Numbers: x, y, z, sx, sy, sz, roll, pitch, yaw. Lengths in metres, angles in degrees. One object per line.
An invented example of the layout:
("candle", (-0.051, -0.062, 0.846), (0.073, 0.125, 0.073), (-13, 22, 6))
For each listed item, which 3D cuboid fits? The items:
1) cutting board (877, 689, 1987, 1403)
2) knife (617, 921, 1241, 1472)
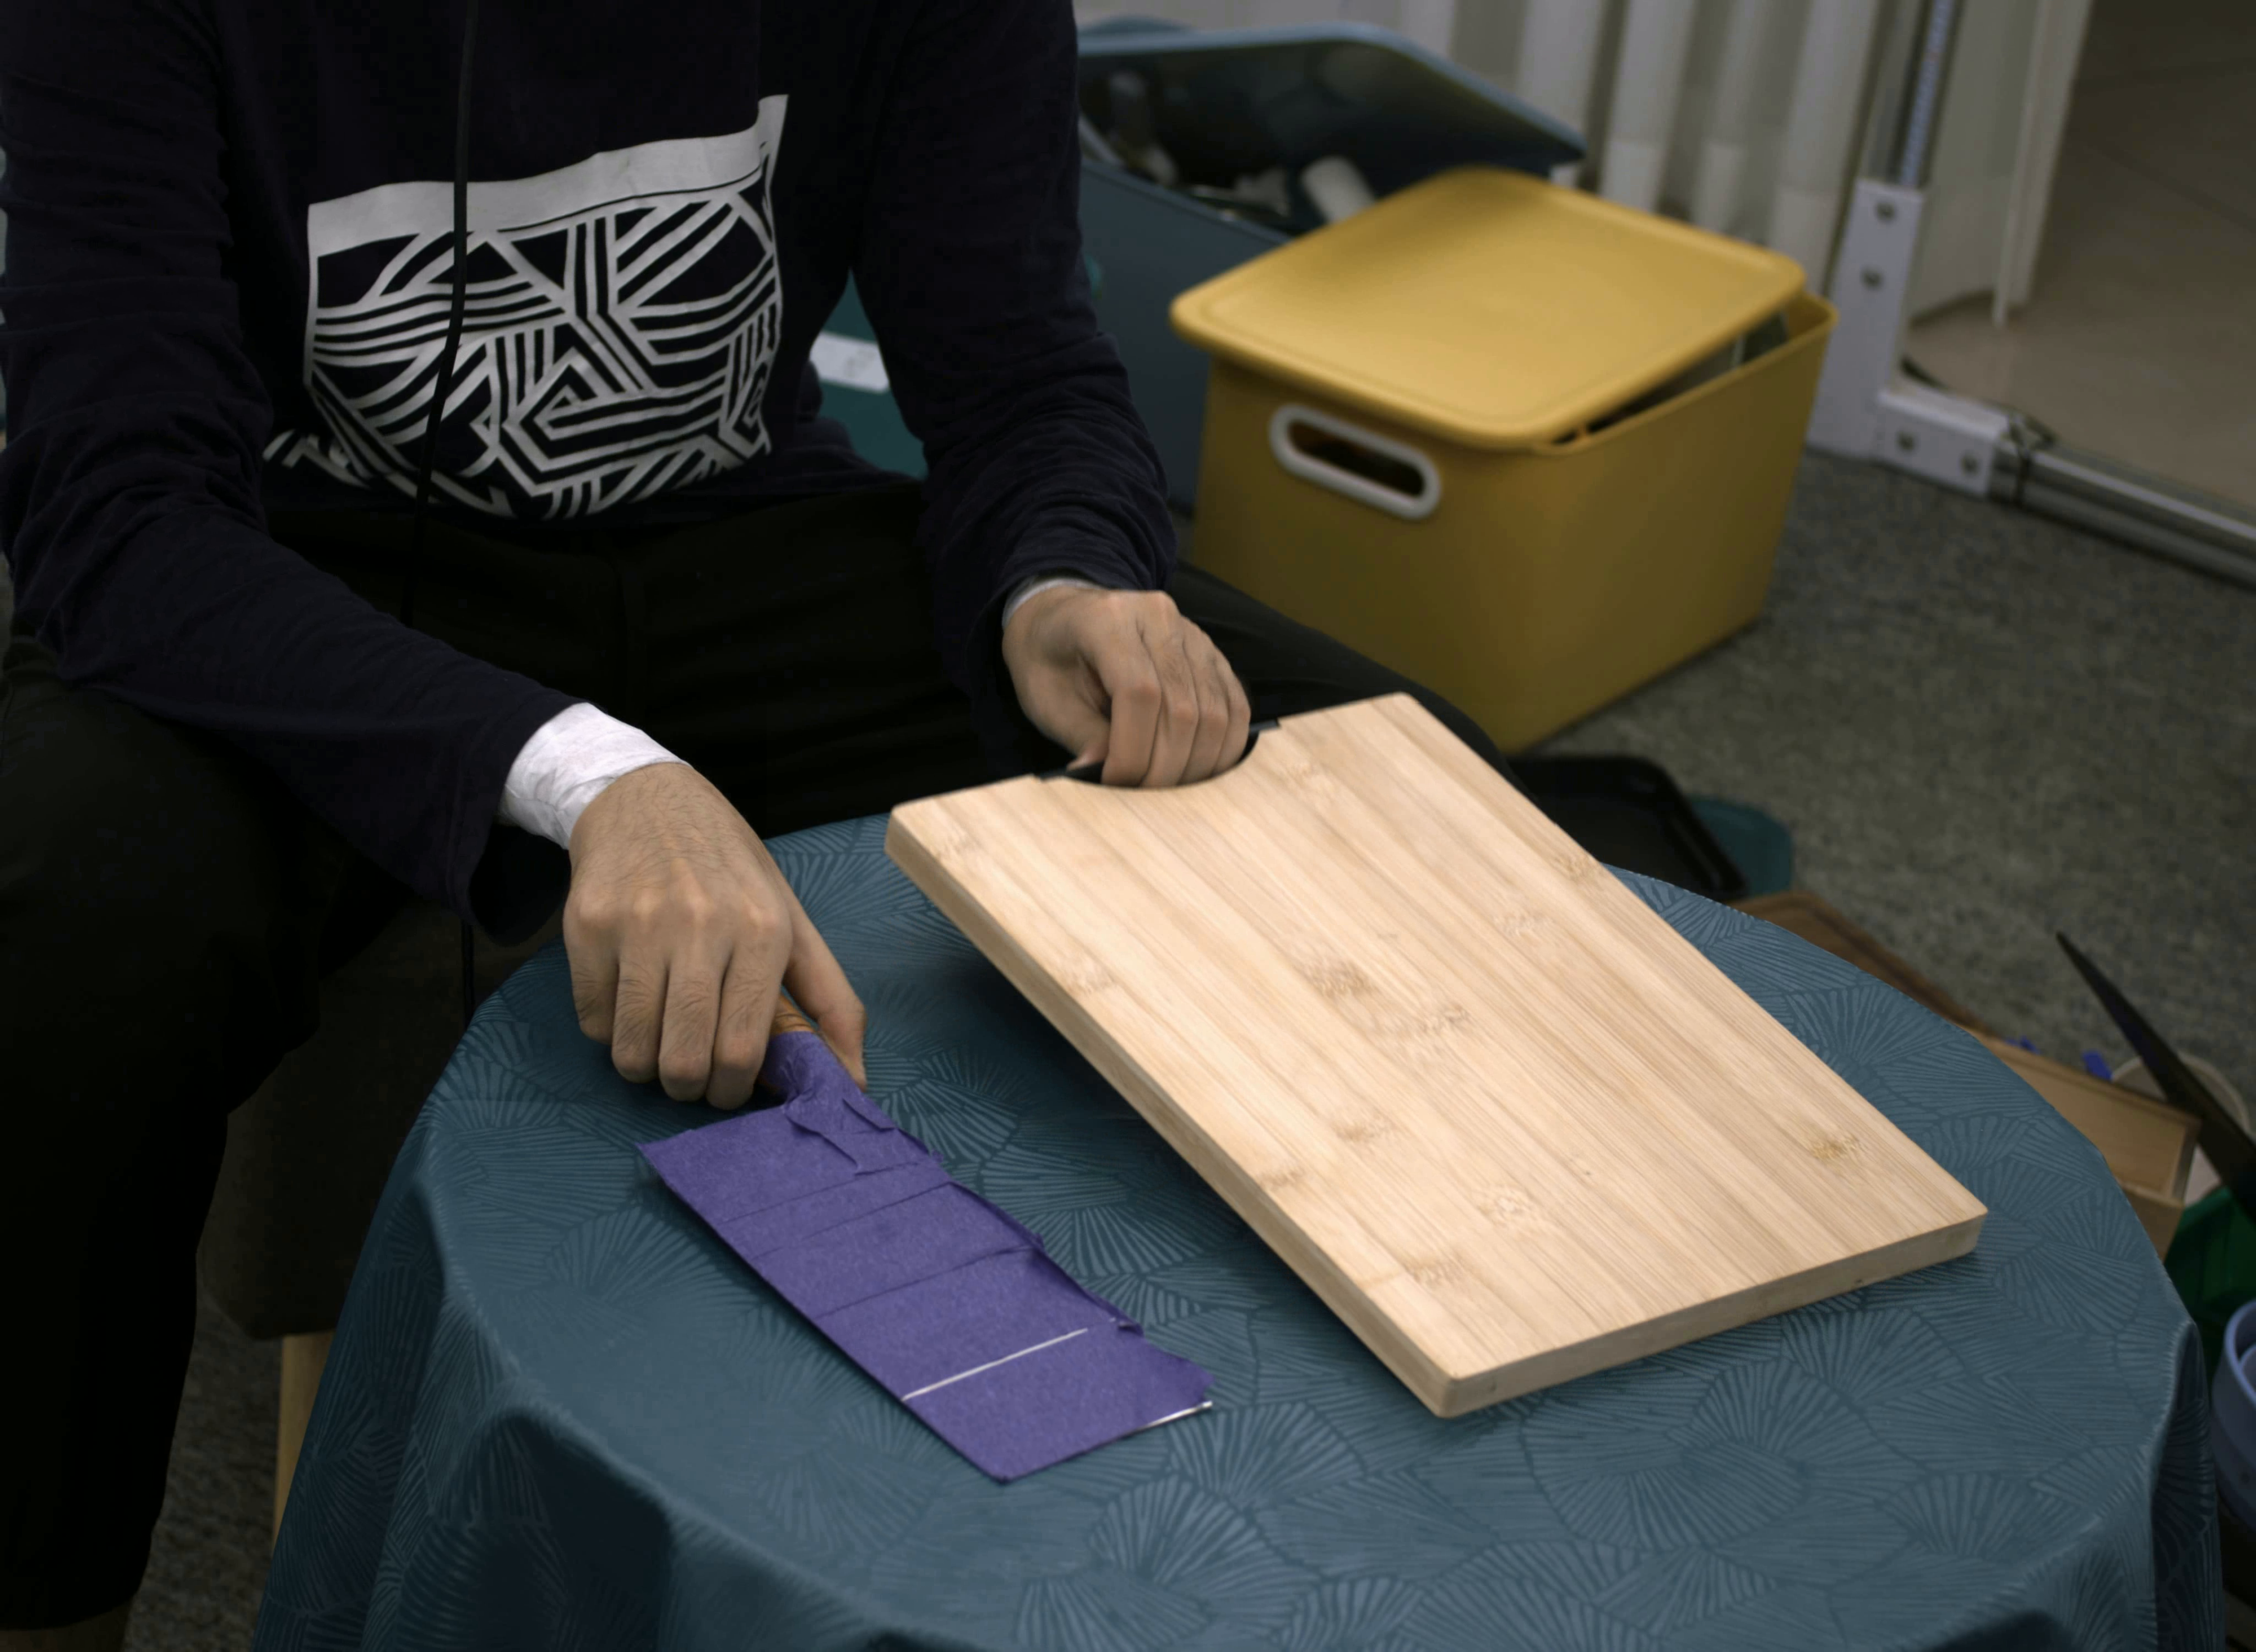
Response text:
("cutting board", (0.101, 0.069, 1.871), (0.249, 0.023, 0.352), (-13, 40, -34))
("knife", (-0.097, 0.118, 1.764), (0.103, 0.032, 0.318), (-14, 34, -36))
